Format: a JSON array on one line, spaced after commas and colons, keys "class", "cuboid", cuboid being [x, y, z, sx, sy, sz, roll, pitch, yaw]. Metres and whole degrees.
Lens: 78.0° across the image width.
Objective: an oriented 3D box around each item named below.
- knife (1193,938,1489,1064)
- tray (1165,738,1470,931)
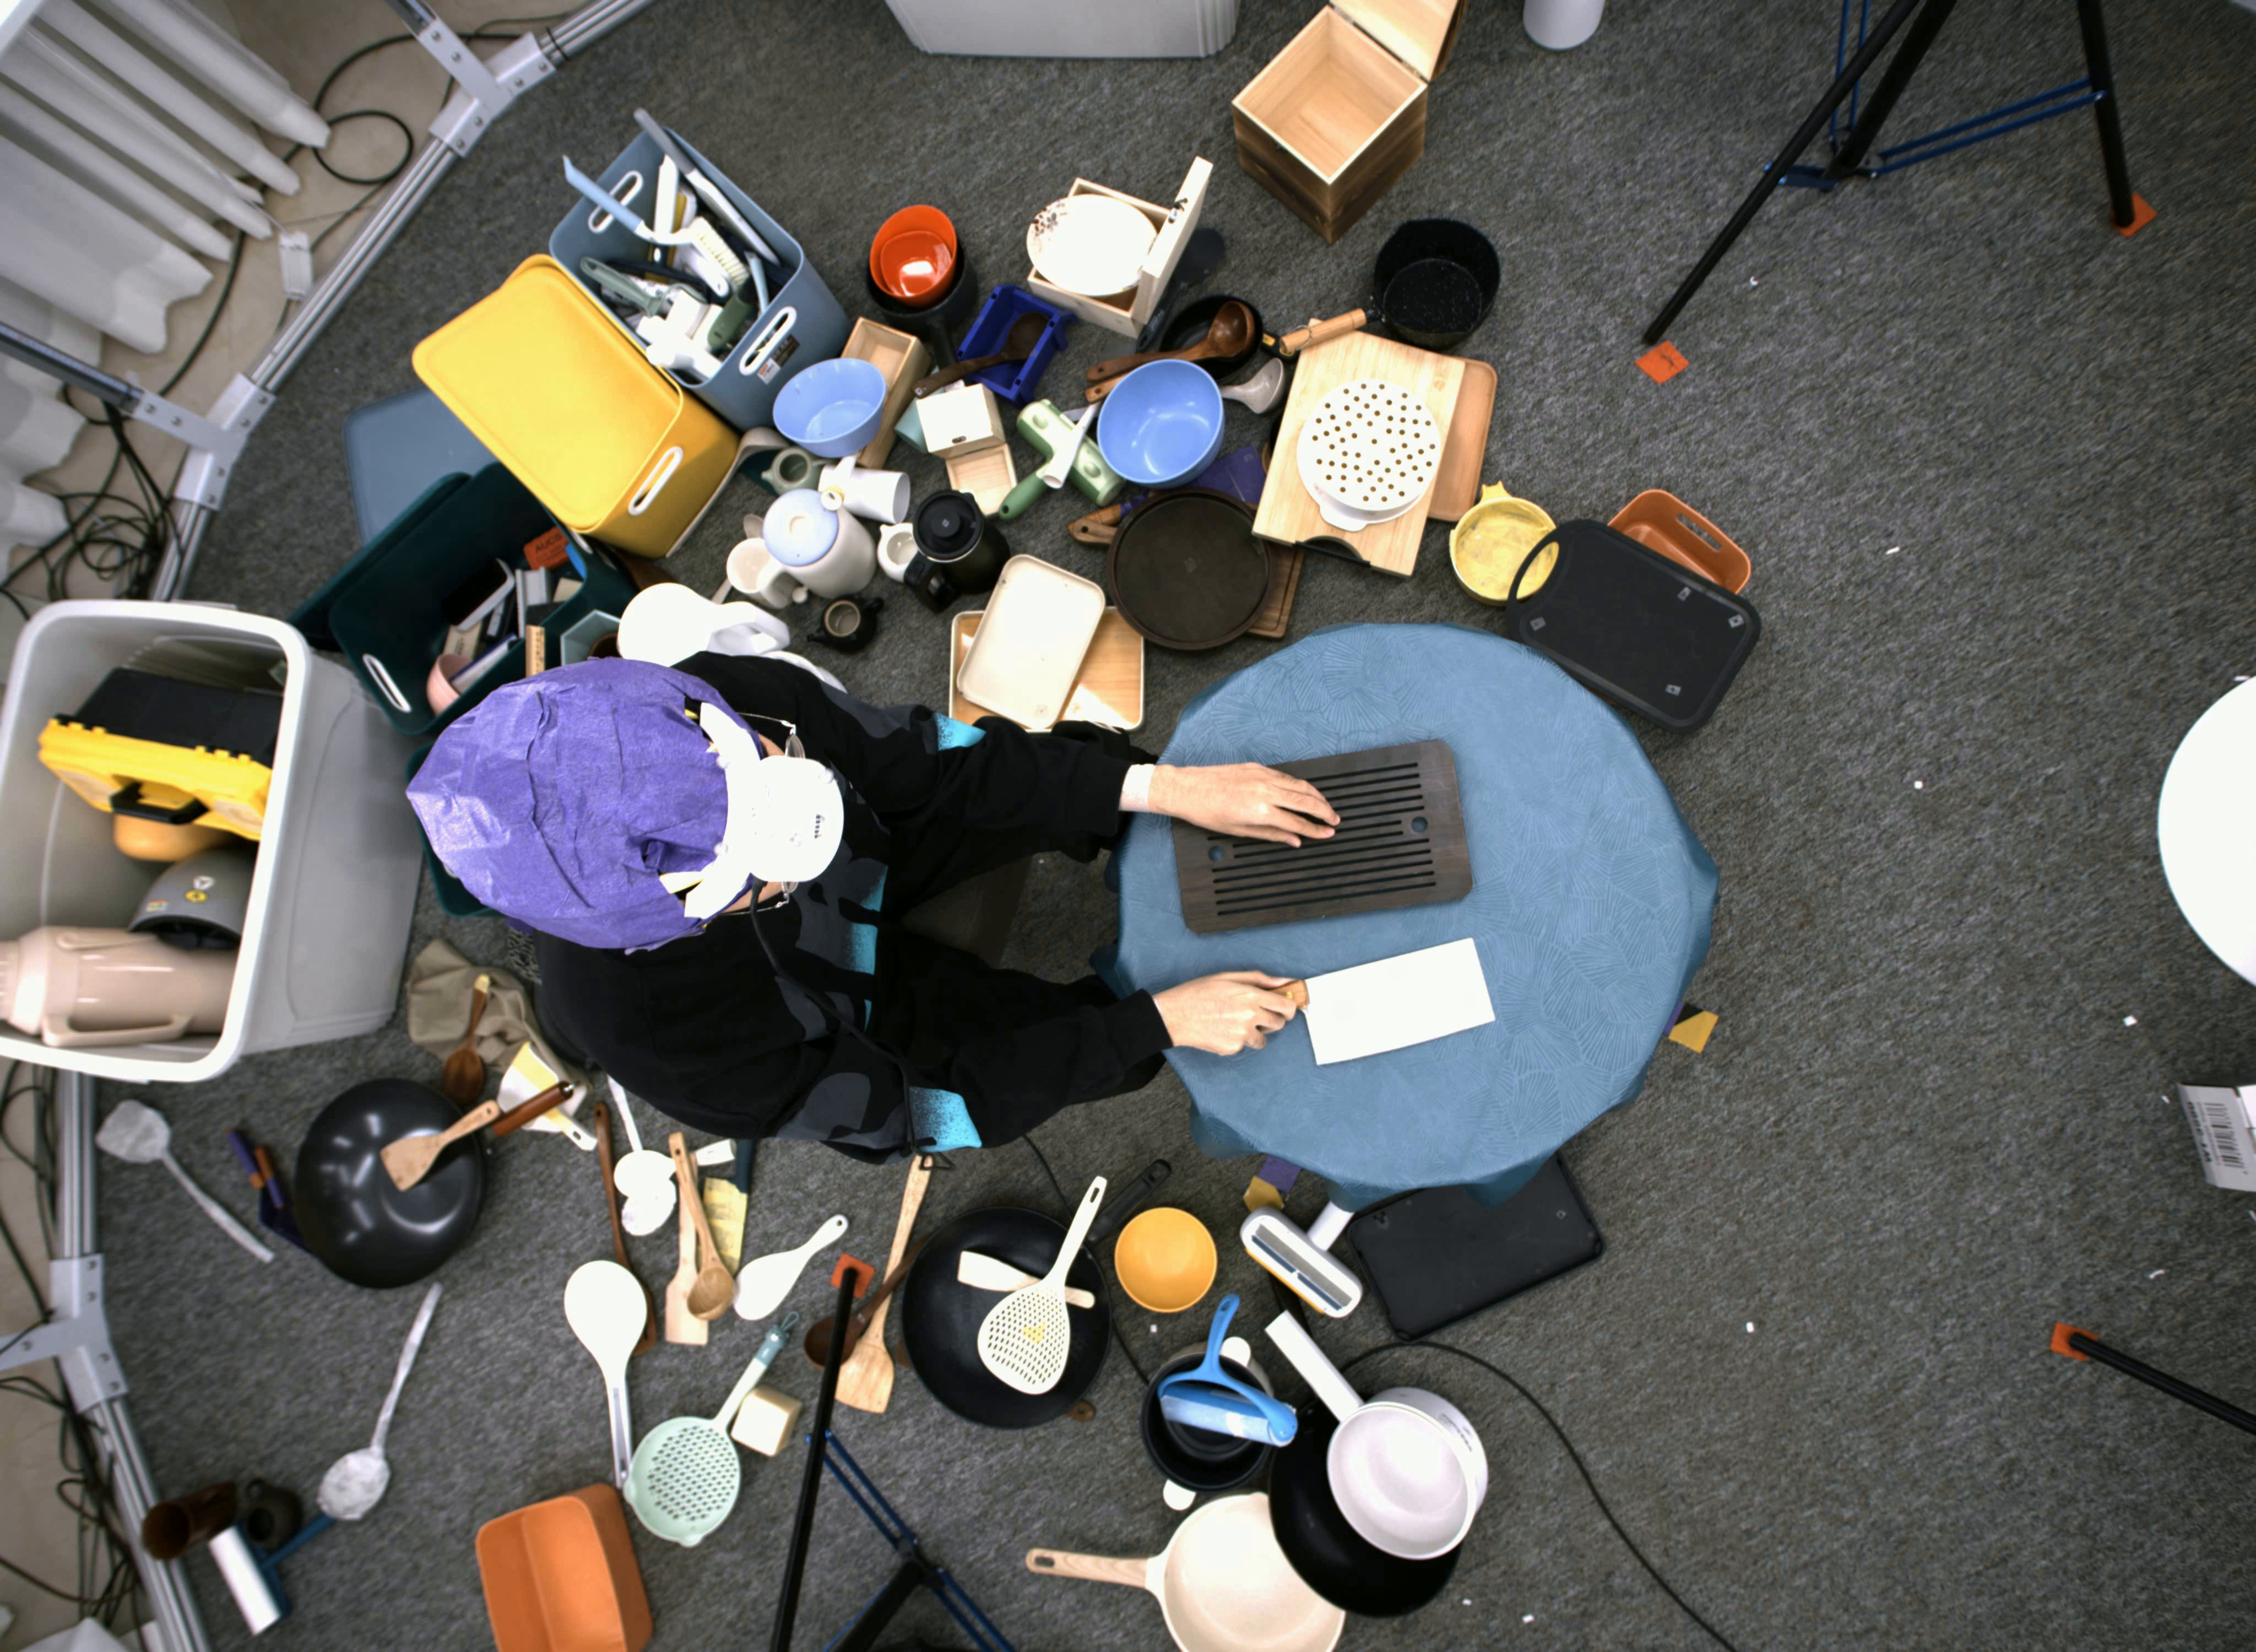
[{"class": "knife", "cuboid": [0.224, 0.195, 1.450, 0.307, 0.021, 0.092, -15, 84, 5]}, {"class": "tray", "cuboid": [0.199, 0.009, 1.467, 0.307, 0.018, 0.169, -8, 86, 10]}]
